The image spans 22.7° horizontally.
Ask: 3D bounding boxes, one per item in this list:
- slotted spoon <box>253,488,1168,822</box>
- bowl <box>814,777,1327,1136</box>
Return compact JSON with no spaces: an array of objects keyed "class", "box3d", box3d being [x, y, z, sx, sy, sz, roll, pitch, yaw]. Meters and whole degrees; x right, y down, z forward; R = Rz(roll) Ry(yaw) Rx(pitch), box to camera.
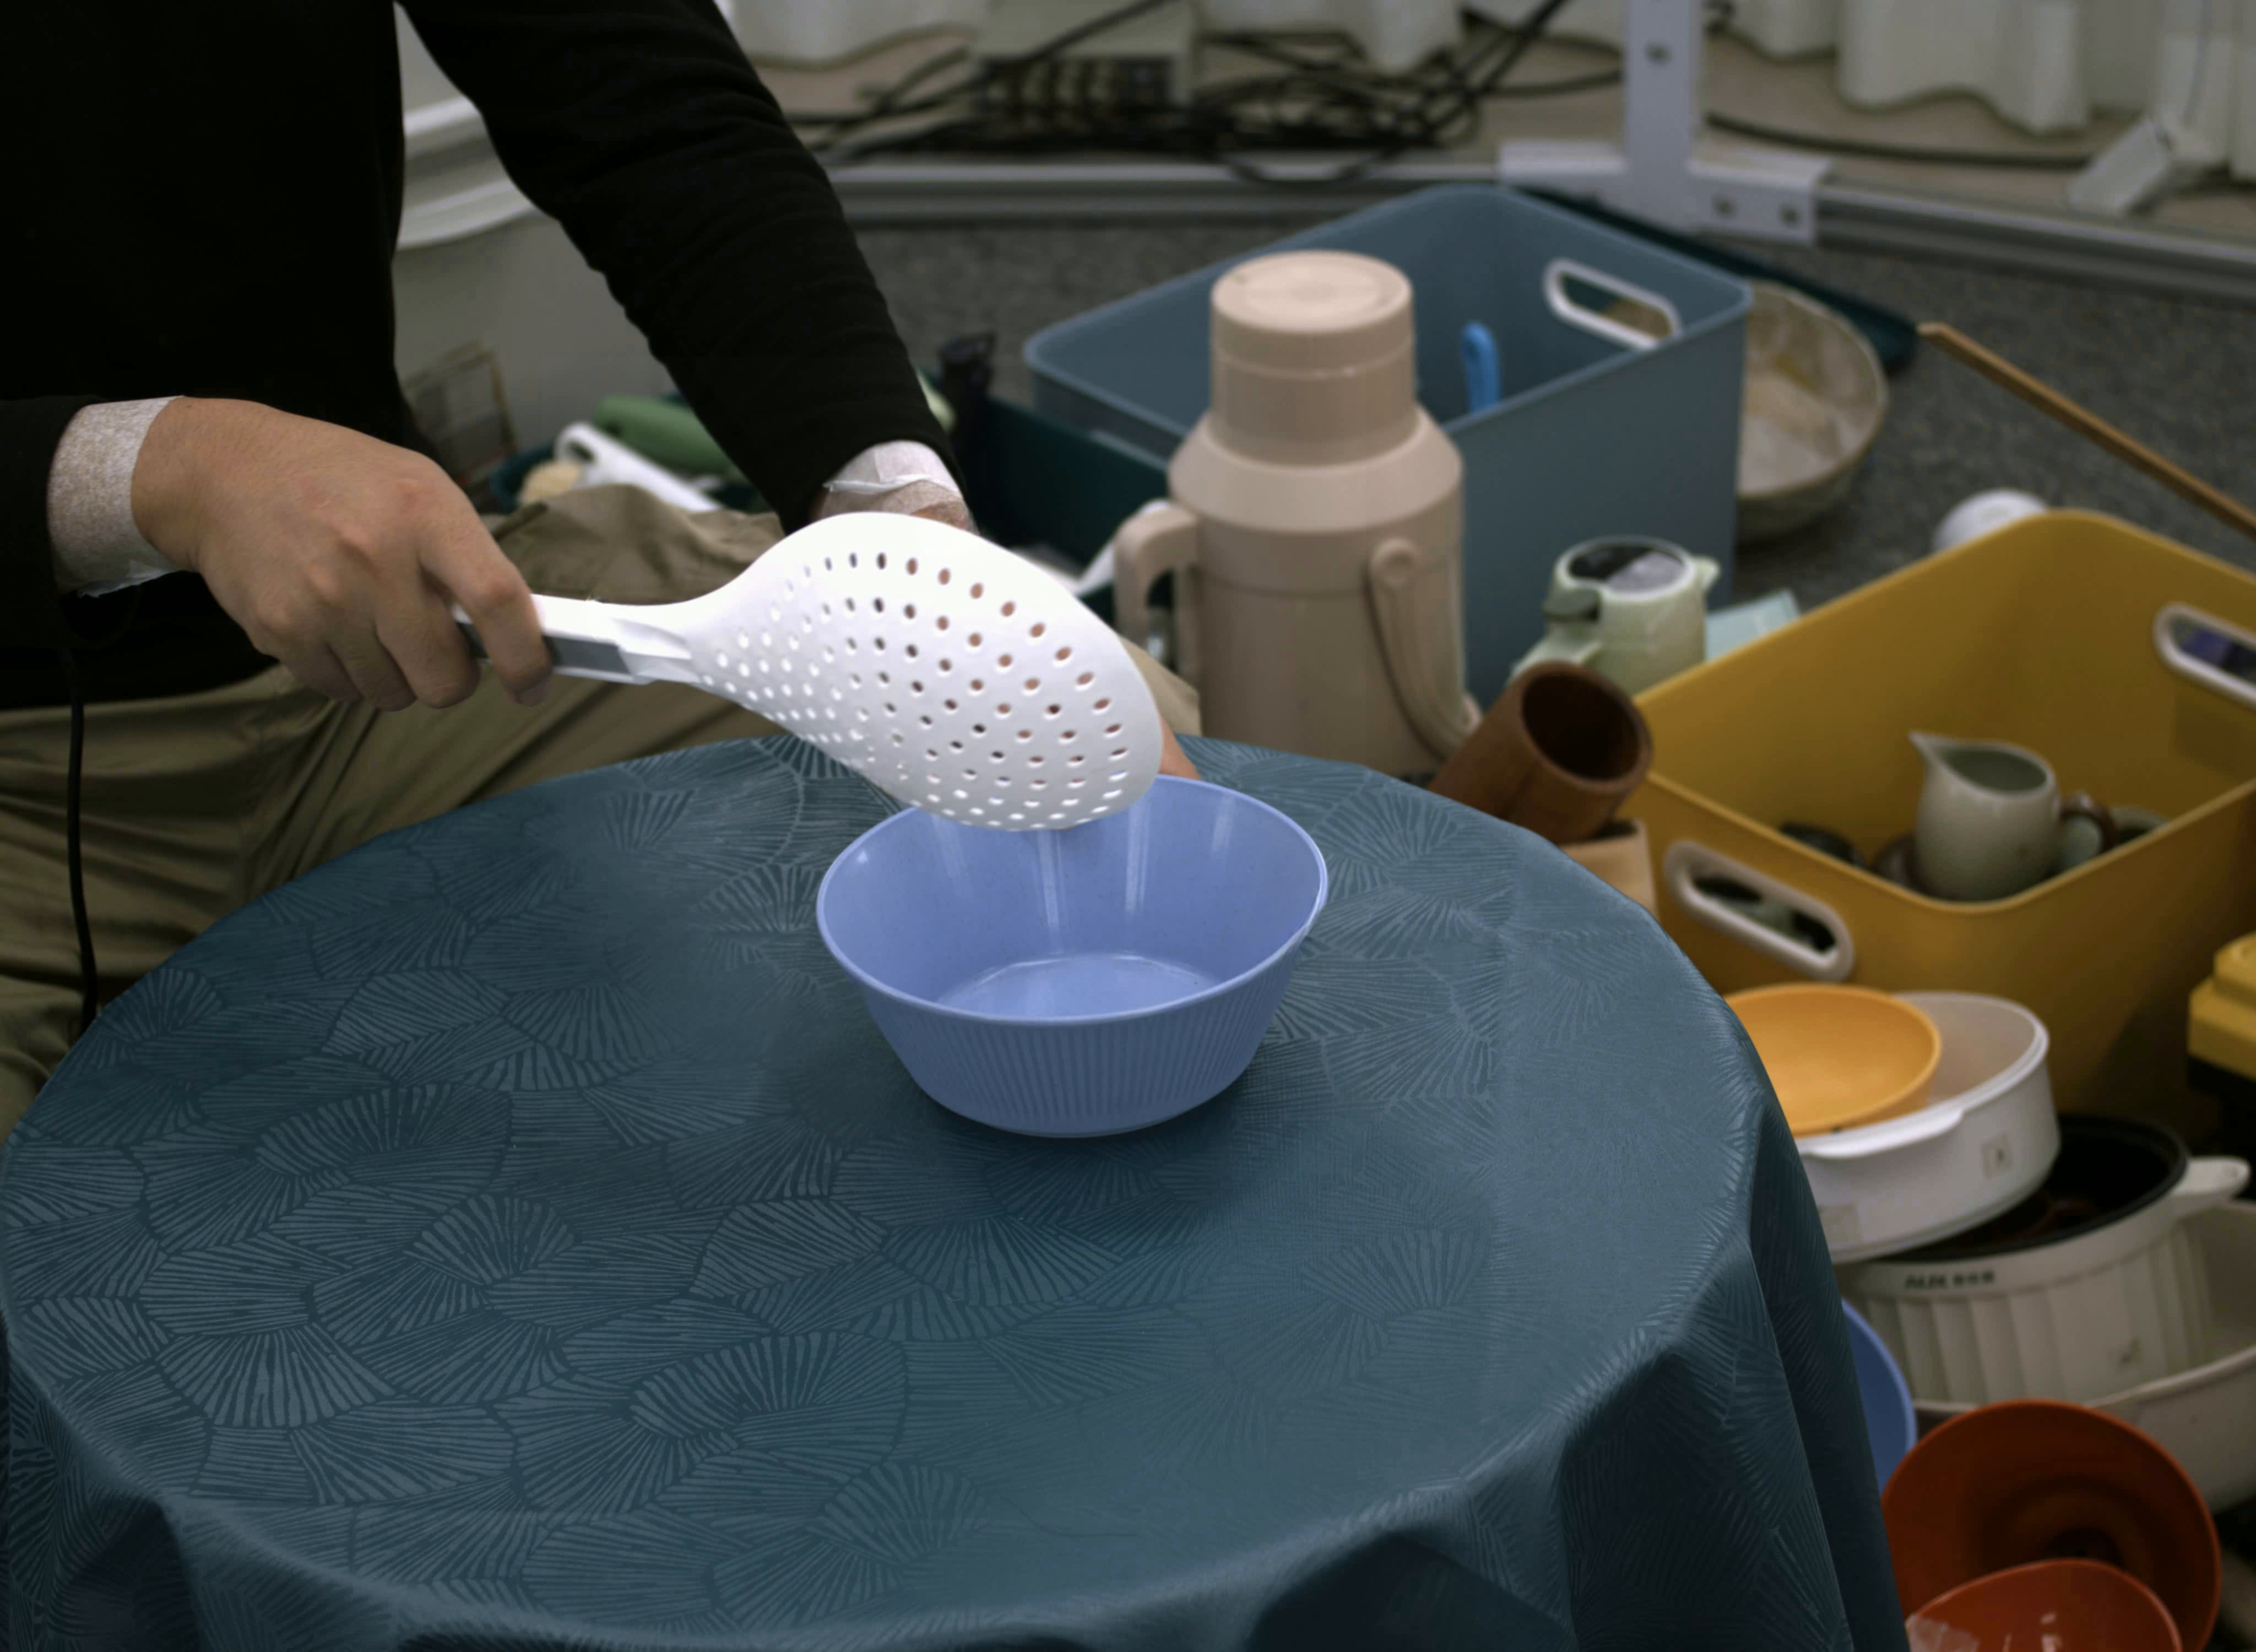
[{"class":"slotted spoon","box3d":[-0.143,-0.061,1.805,0.347,0.134,0.046,12,50,34]},{"class":"bowl","box3d":[-0.018,0.050,1.926,0.175,0.069,0.179,-3,26,2]}]
